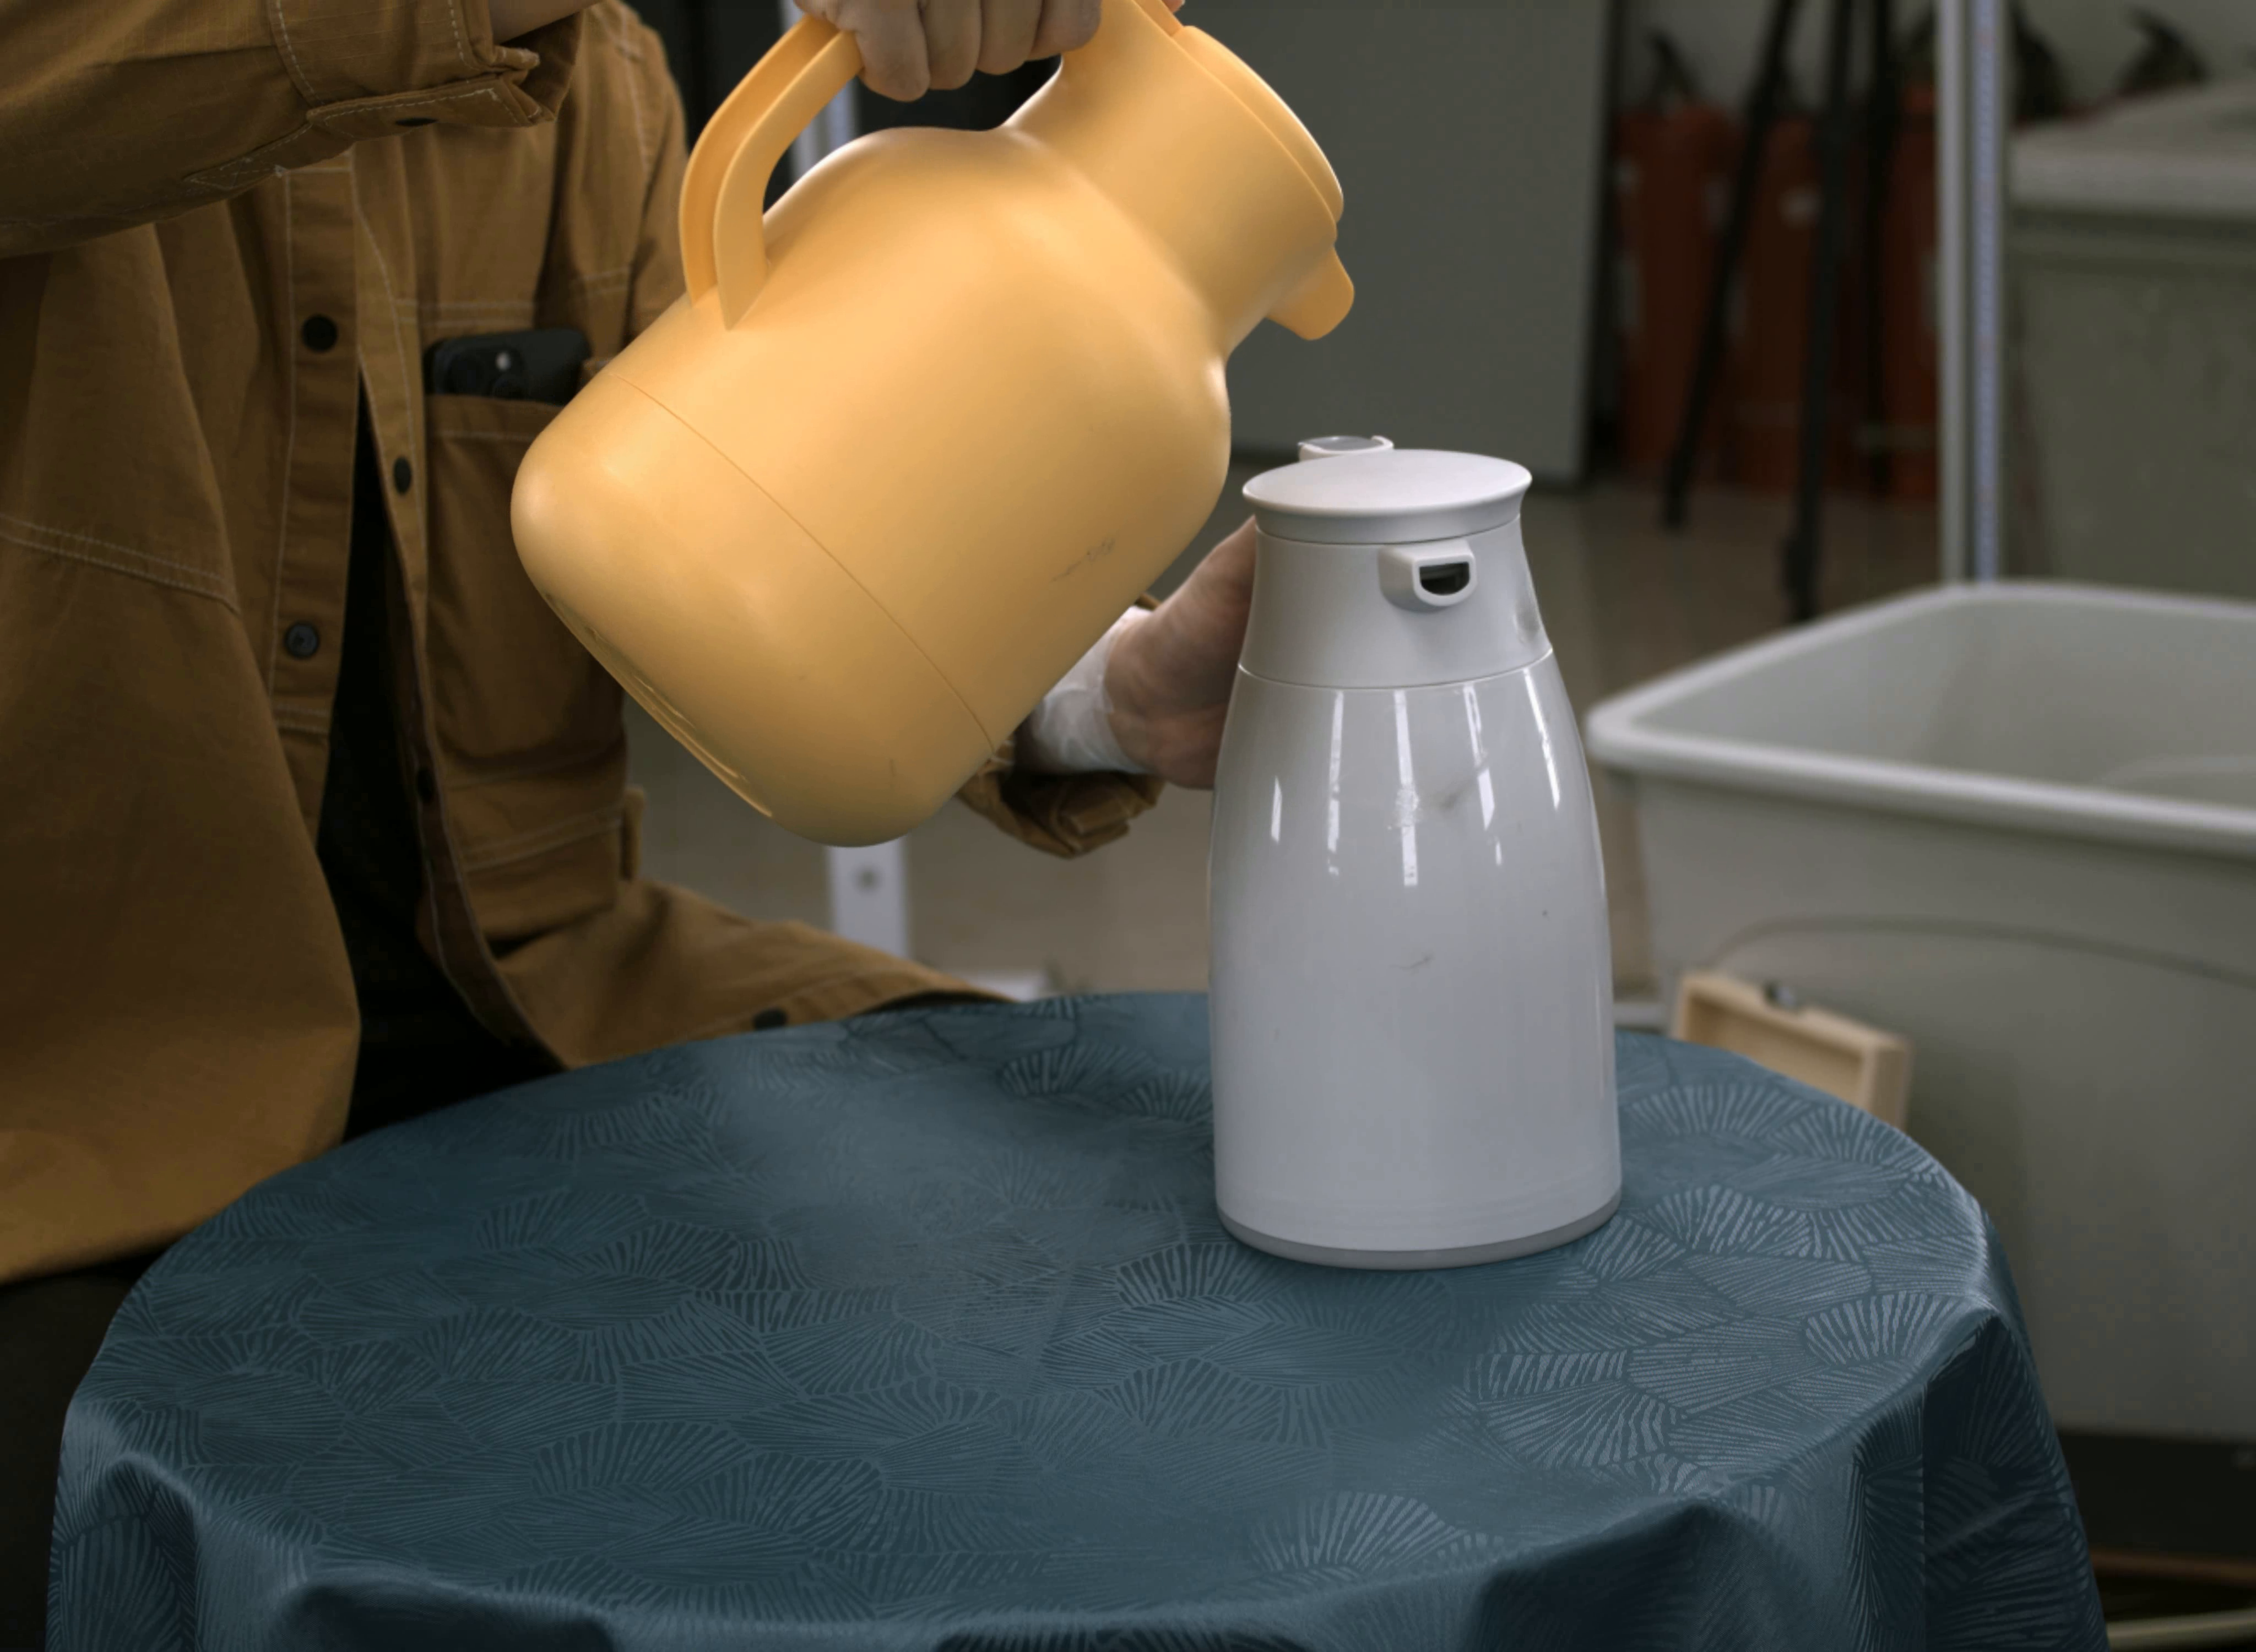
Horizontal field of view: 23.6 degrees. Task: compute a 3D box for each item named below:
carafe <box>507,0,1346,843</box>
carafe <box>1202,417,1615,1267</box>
[{"bbox_3d":[-0.063,-0.144,1.598,0.260,0.200,0.165,-47,32,-9],"label":"carafe"},{"bbox_3d":[0.080,-0.003,1.729,0.130,0.251,0.169,-7,13,-12],"label":"carafe"}]
